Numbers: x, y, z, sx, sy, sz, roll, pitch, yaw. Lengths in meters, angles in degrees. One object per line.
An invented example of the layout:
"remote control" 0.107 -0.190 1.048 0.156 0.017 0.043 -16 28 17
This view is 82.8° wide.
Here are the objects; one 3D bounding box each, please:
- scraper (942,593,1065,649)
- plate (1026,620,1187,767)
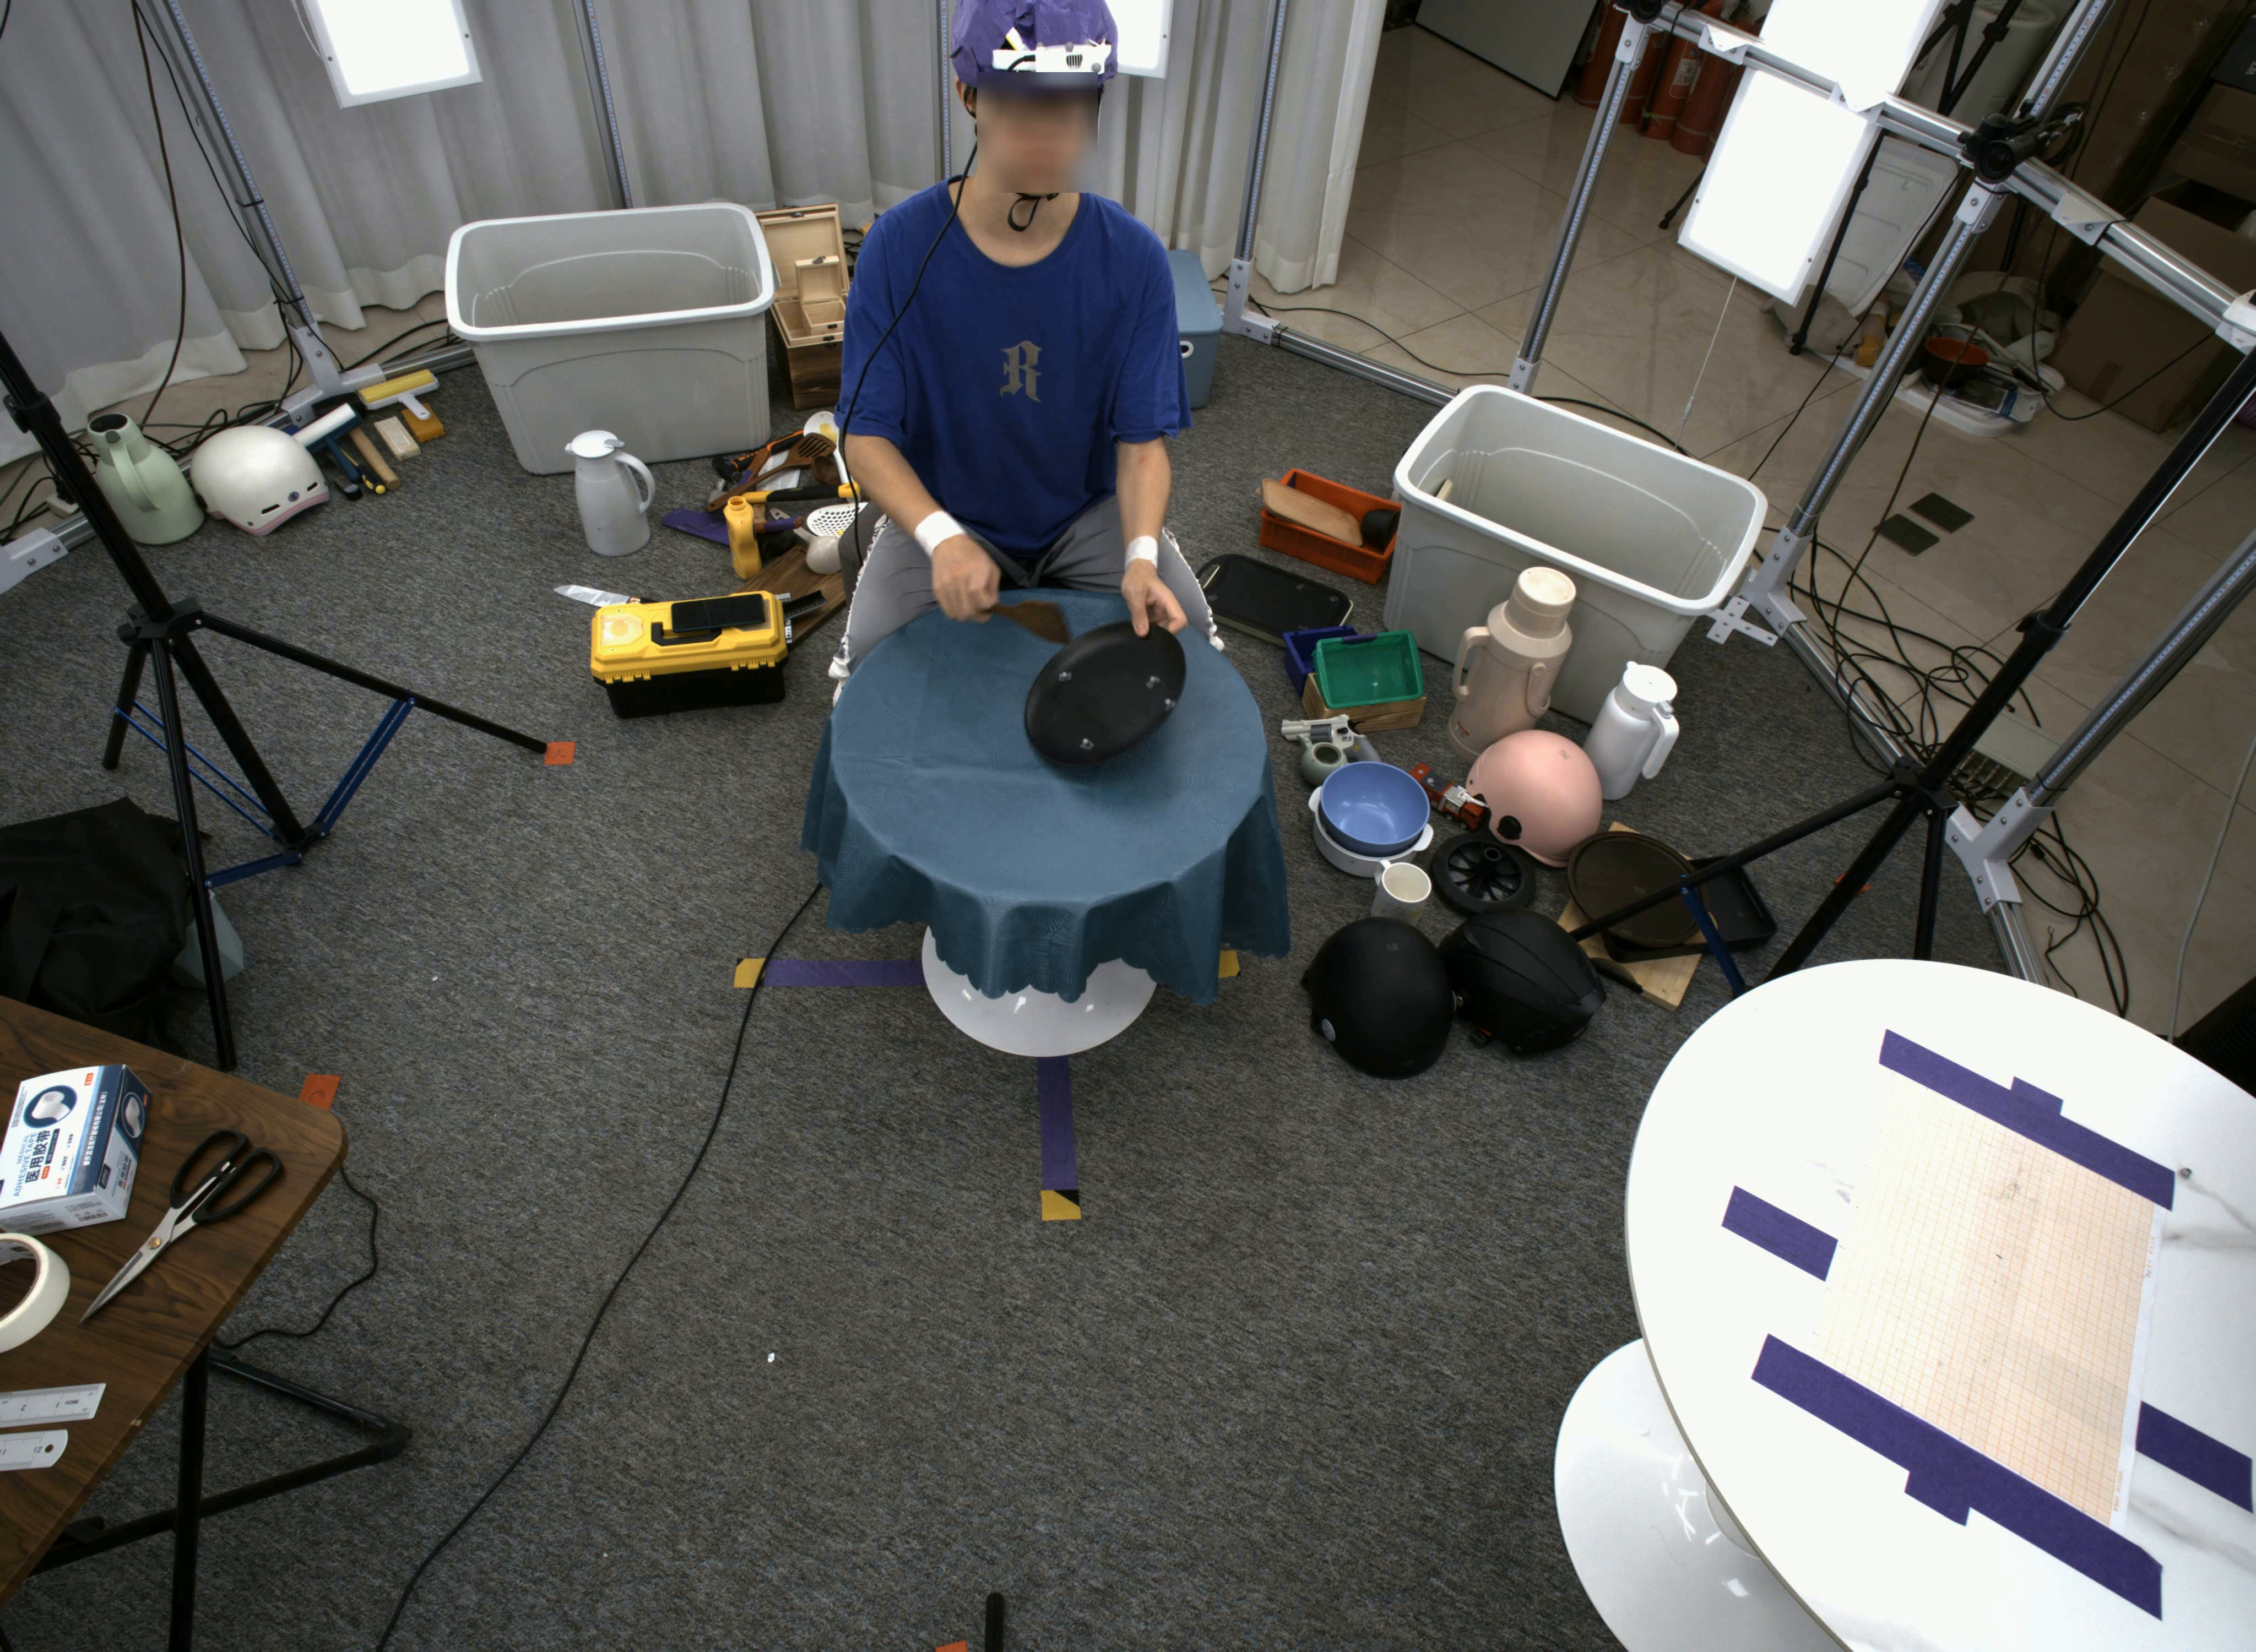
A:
"scraper" -0.173 -0.285 1.732 0.214 0.074 0.011 20 60 35
"plate" -0.028 -0.179 1.759 0.244 0.023 0.250 -15 52 20
